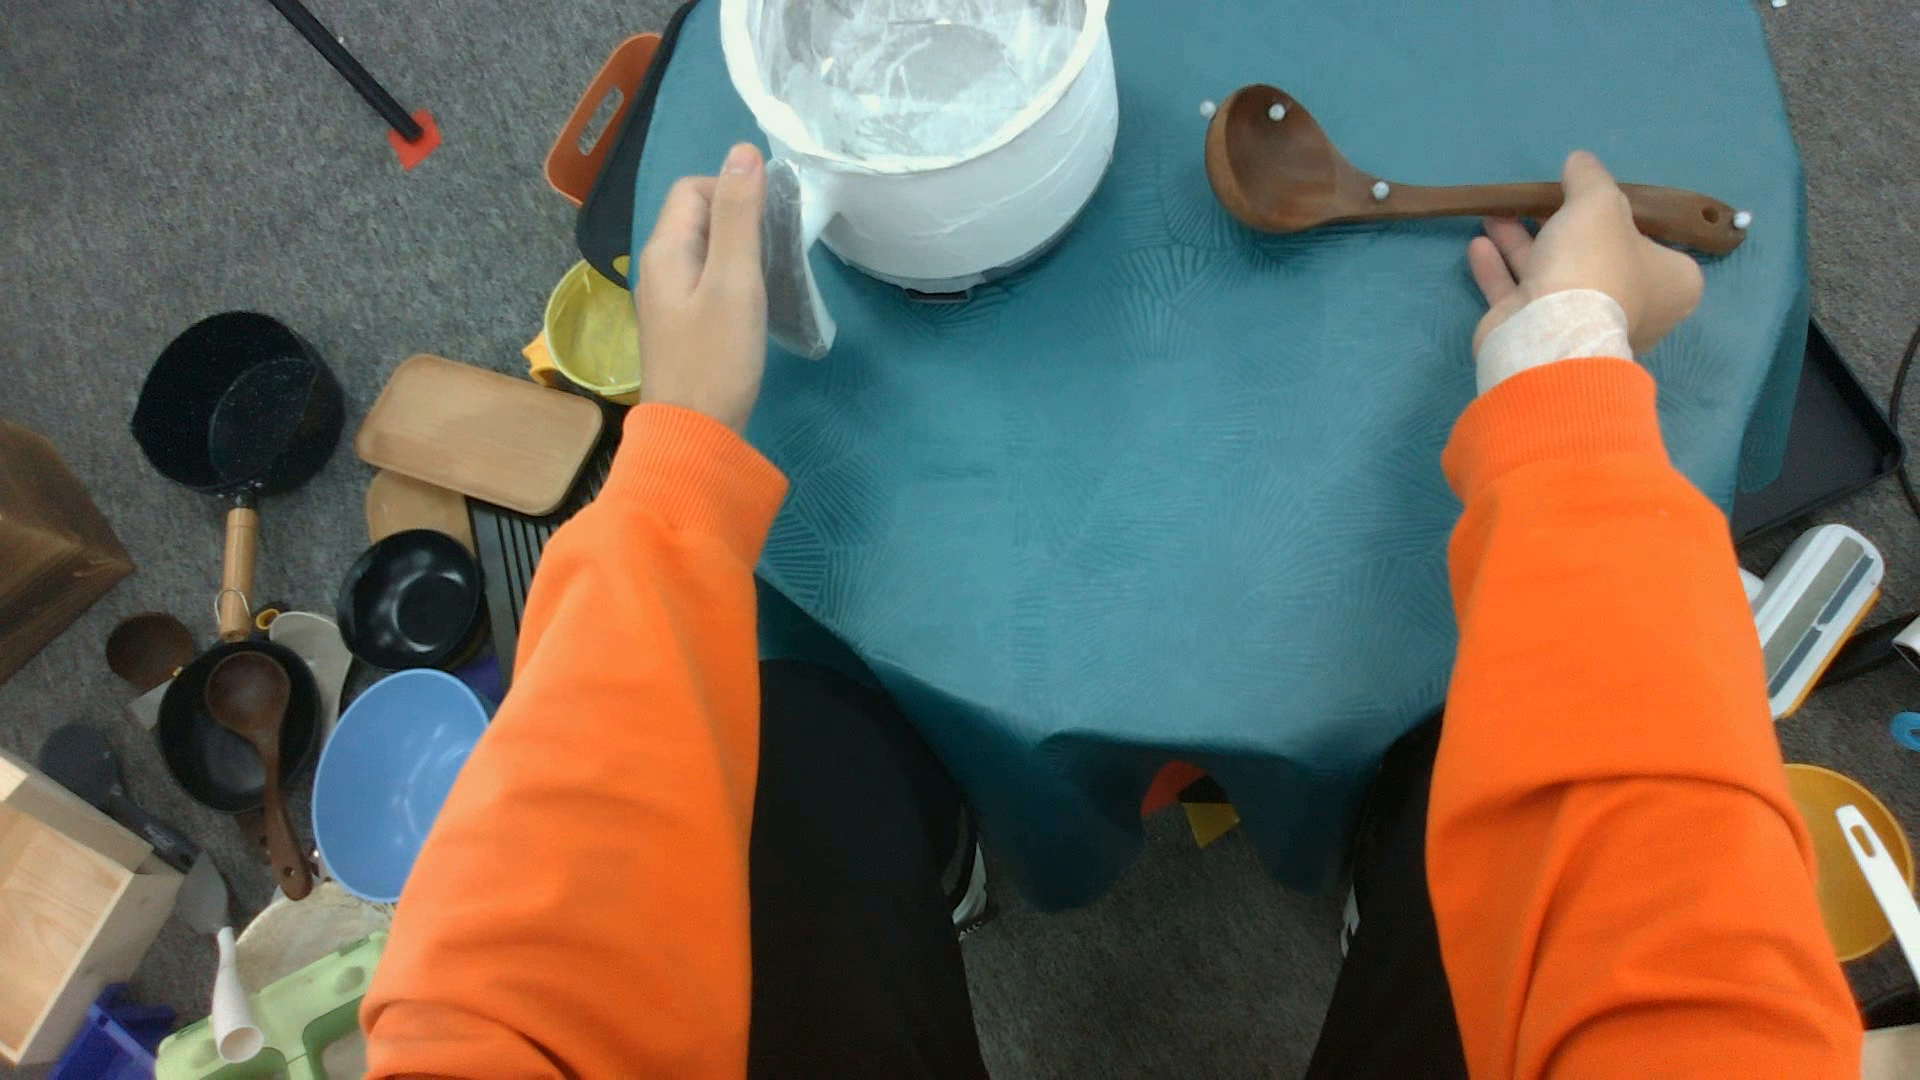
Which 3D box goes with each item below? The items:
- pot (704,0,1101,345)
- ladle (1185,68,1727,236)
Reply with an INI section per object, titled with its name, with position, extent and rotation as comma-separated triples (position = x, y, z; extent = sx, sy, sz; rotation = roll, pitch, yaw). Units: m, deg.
[pot]
position = -0.035, -0.208, 0.672
extent = 0.179, 0.136, 0.234
rotation = 30, 80, 16
[ladle]
position = 0.239, -0.181, 0.663
extent = 0.260, 0.065, 0.076
rotation = 8, 76, 11
